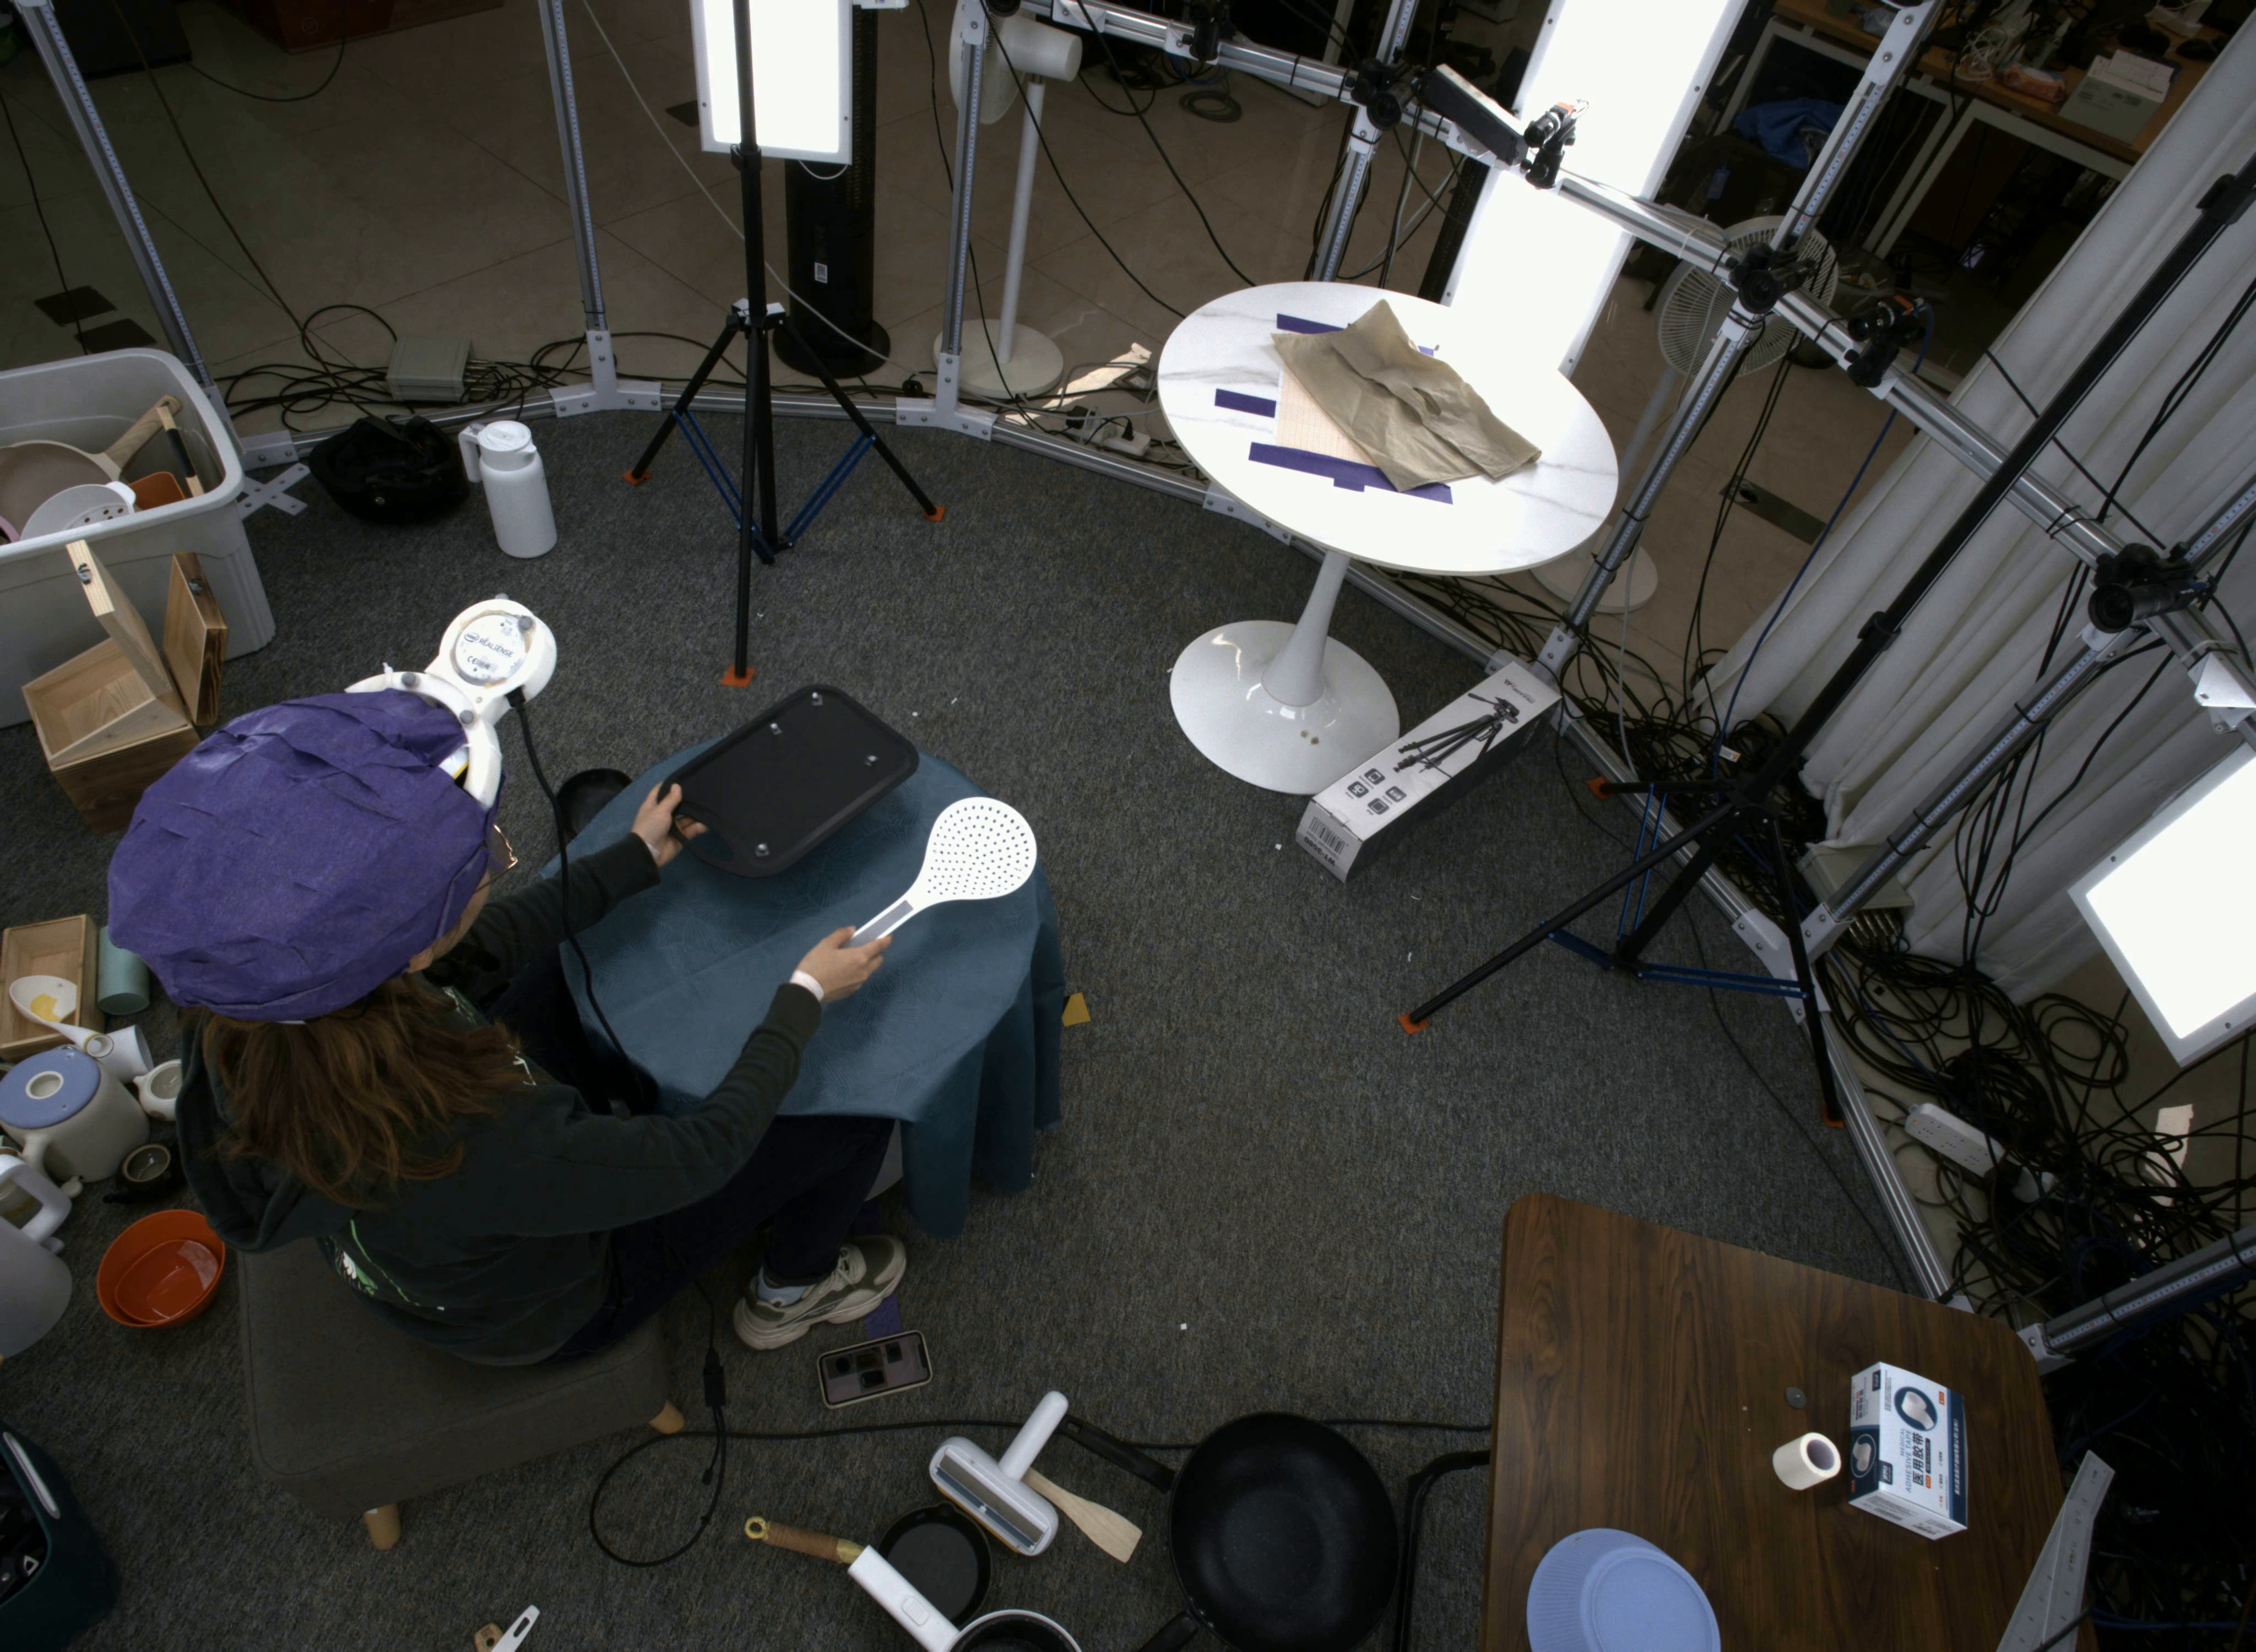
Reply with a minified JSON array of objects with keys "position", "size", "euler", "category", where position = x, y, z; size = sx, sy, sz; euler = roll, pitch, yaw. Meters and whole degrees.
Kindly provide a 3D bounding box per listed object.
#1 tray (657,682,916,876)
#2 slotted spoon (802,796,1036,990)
[{"position":[-0.440,-0.065,1.661],"size":[0.207,0.010,0.325],"euler":[37,53,14],"category":"tray"},{"position":[-0.258,0.086,1.605],"size":[0.136,0.046,0.350],"euler":[49,56,3],"category":"slotted spoon"}]
